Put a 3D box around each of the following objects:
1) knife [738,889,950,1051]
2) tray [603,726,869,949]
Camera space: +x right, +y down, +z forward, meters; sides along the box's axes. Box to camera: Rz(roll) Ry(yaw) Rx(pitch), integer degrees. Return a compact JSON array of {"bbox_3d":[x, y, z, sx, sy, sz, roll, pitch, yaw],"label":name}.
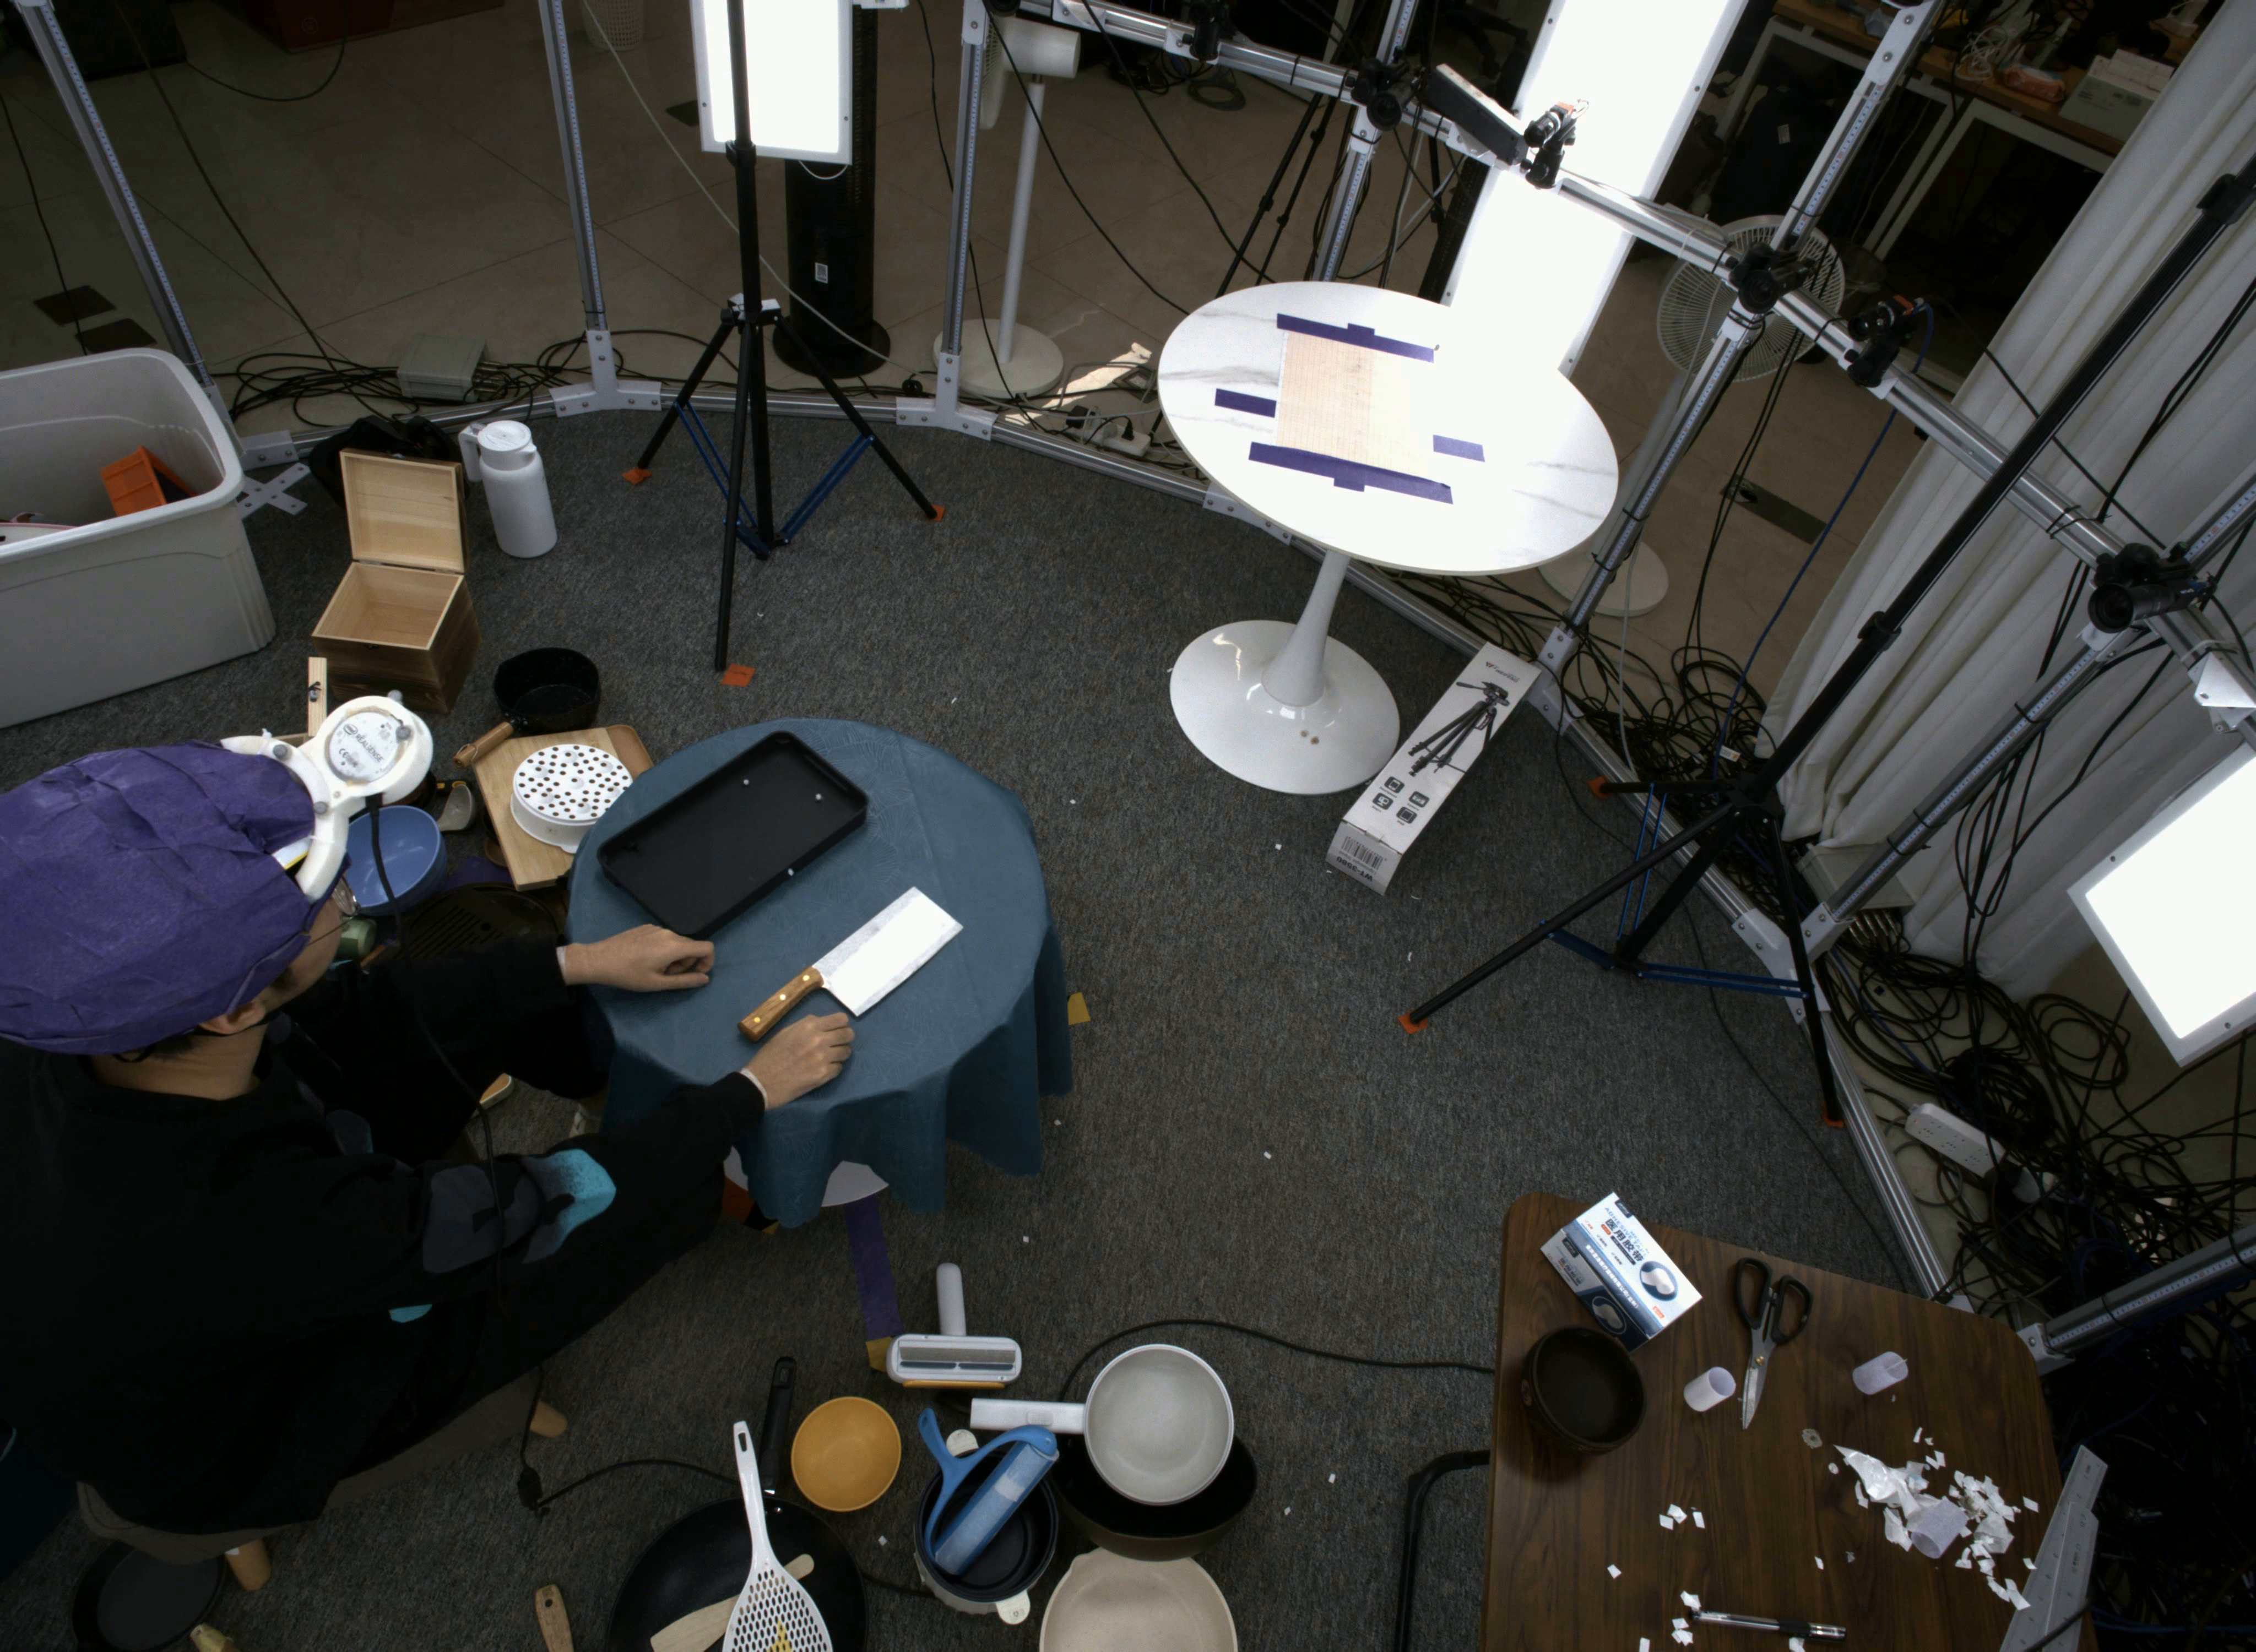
[{"bbox_3d":[-0.337,0.182,1.591,0.091,0.021,0.306,38,51,13],"label":"knife"},{"bbox_3d":[-0.501,0.006,1.665,0.181,0.038,0.318,37,53,13],"label":"tray"}]
